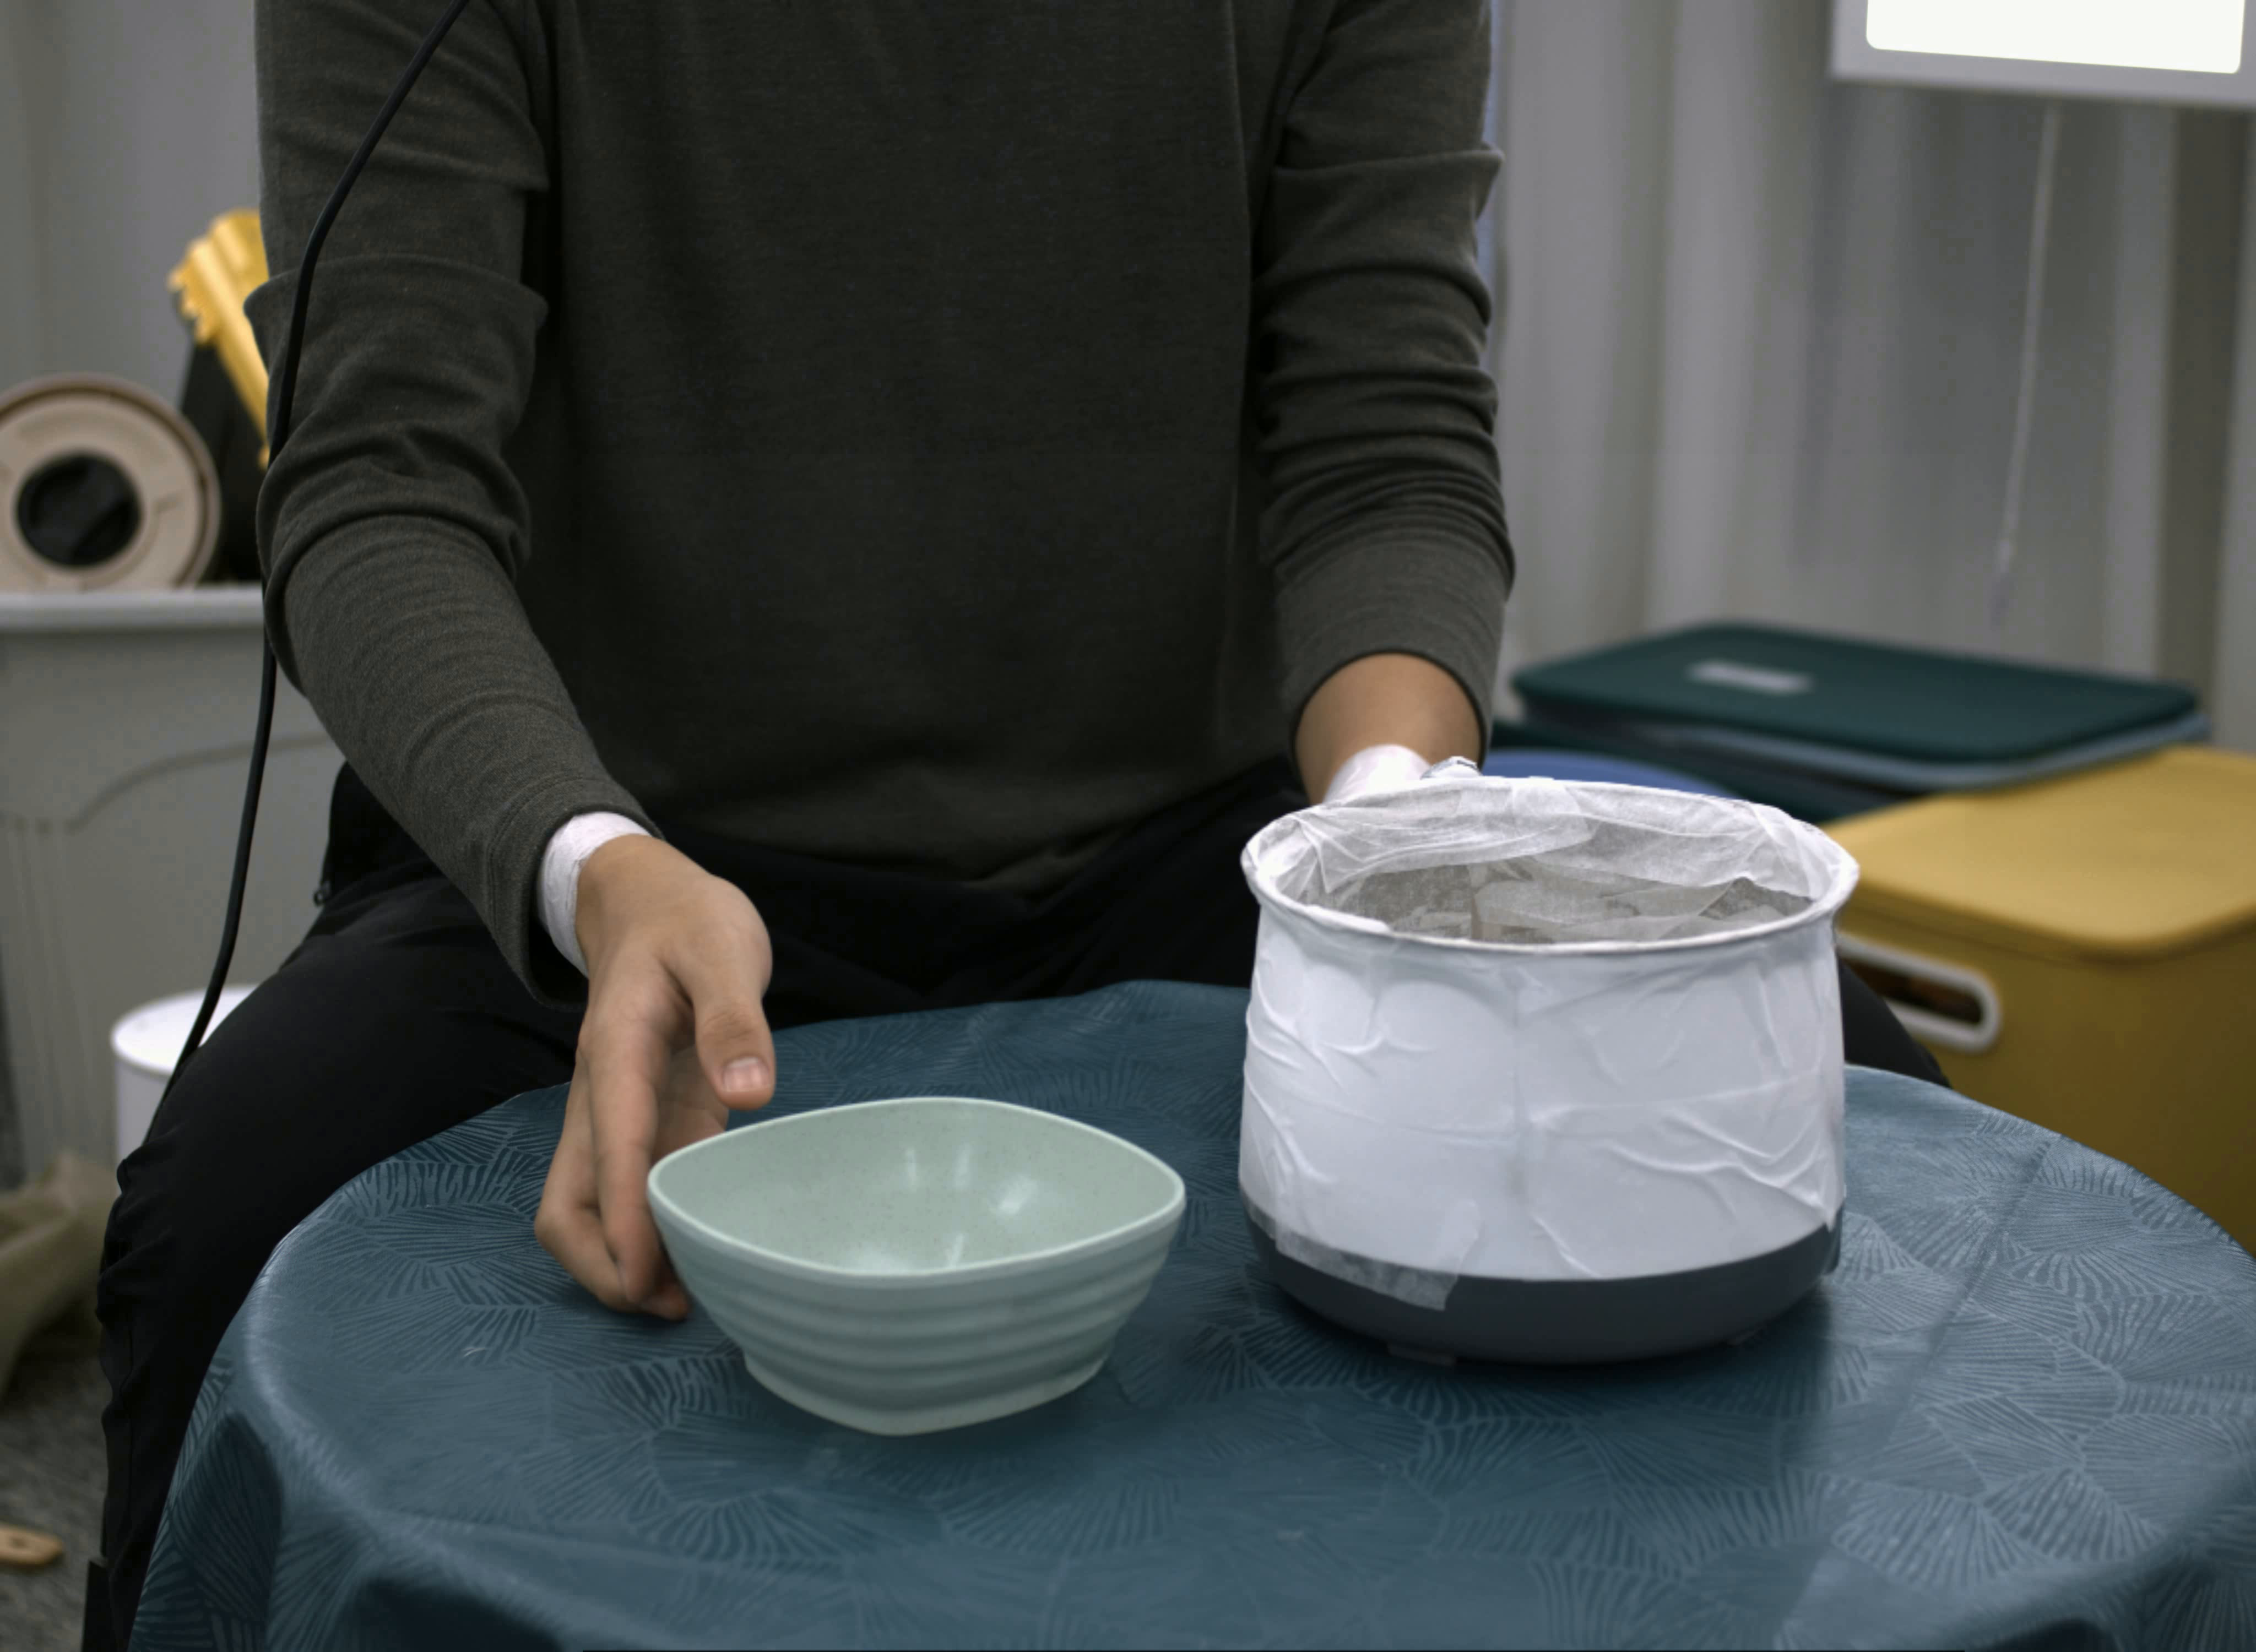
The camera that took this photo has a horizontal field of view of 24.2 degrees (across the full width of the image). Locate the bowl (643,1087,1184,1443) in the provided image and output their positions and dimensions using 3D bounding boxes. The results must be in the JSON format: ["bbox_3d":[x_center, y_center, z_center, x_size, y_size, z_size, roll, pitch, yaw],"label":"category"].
[{"bbox_3d":[-0.060,0.126,1.467,0.151,0.059,0.150,1,18,0],"label":"bowl"}]

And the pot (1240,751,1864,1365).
[{"bbox_3d":[0.115,0.062,1.549,0.179,0.138,0.231,-3,16,-13],"label":"pot"}]
